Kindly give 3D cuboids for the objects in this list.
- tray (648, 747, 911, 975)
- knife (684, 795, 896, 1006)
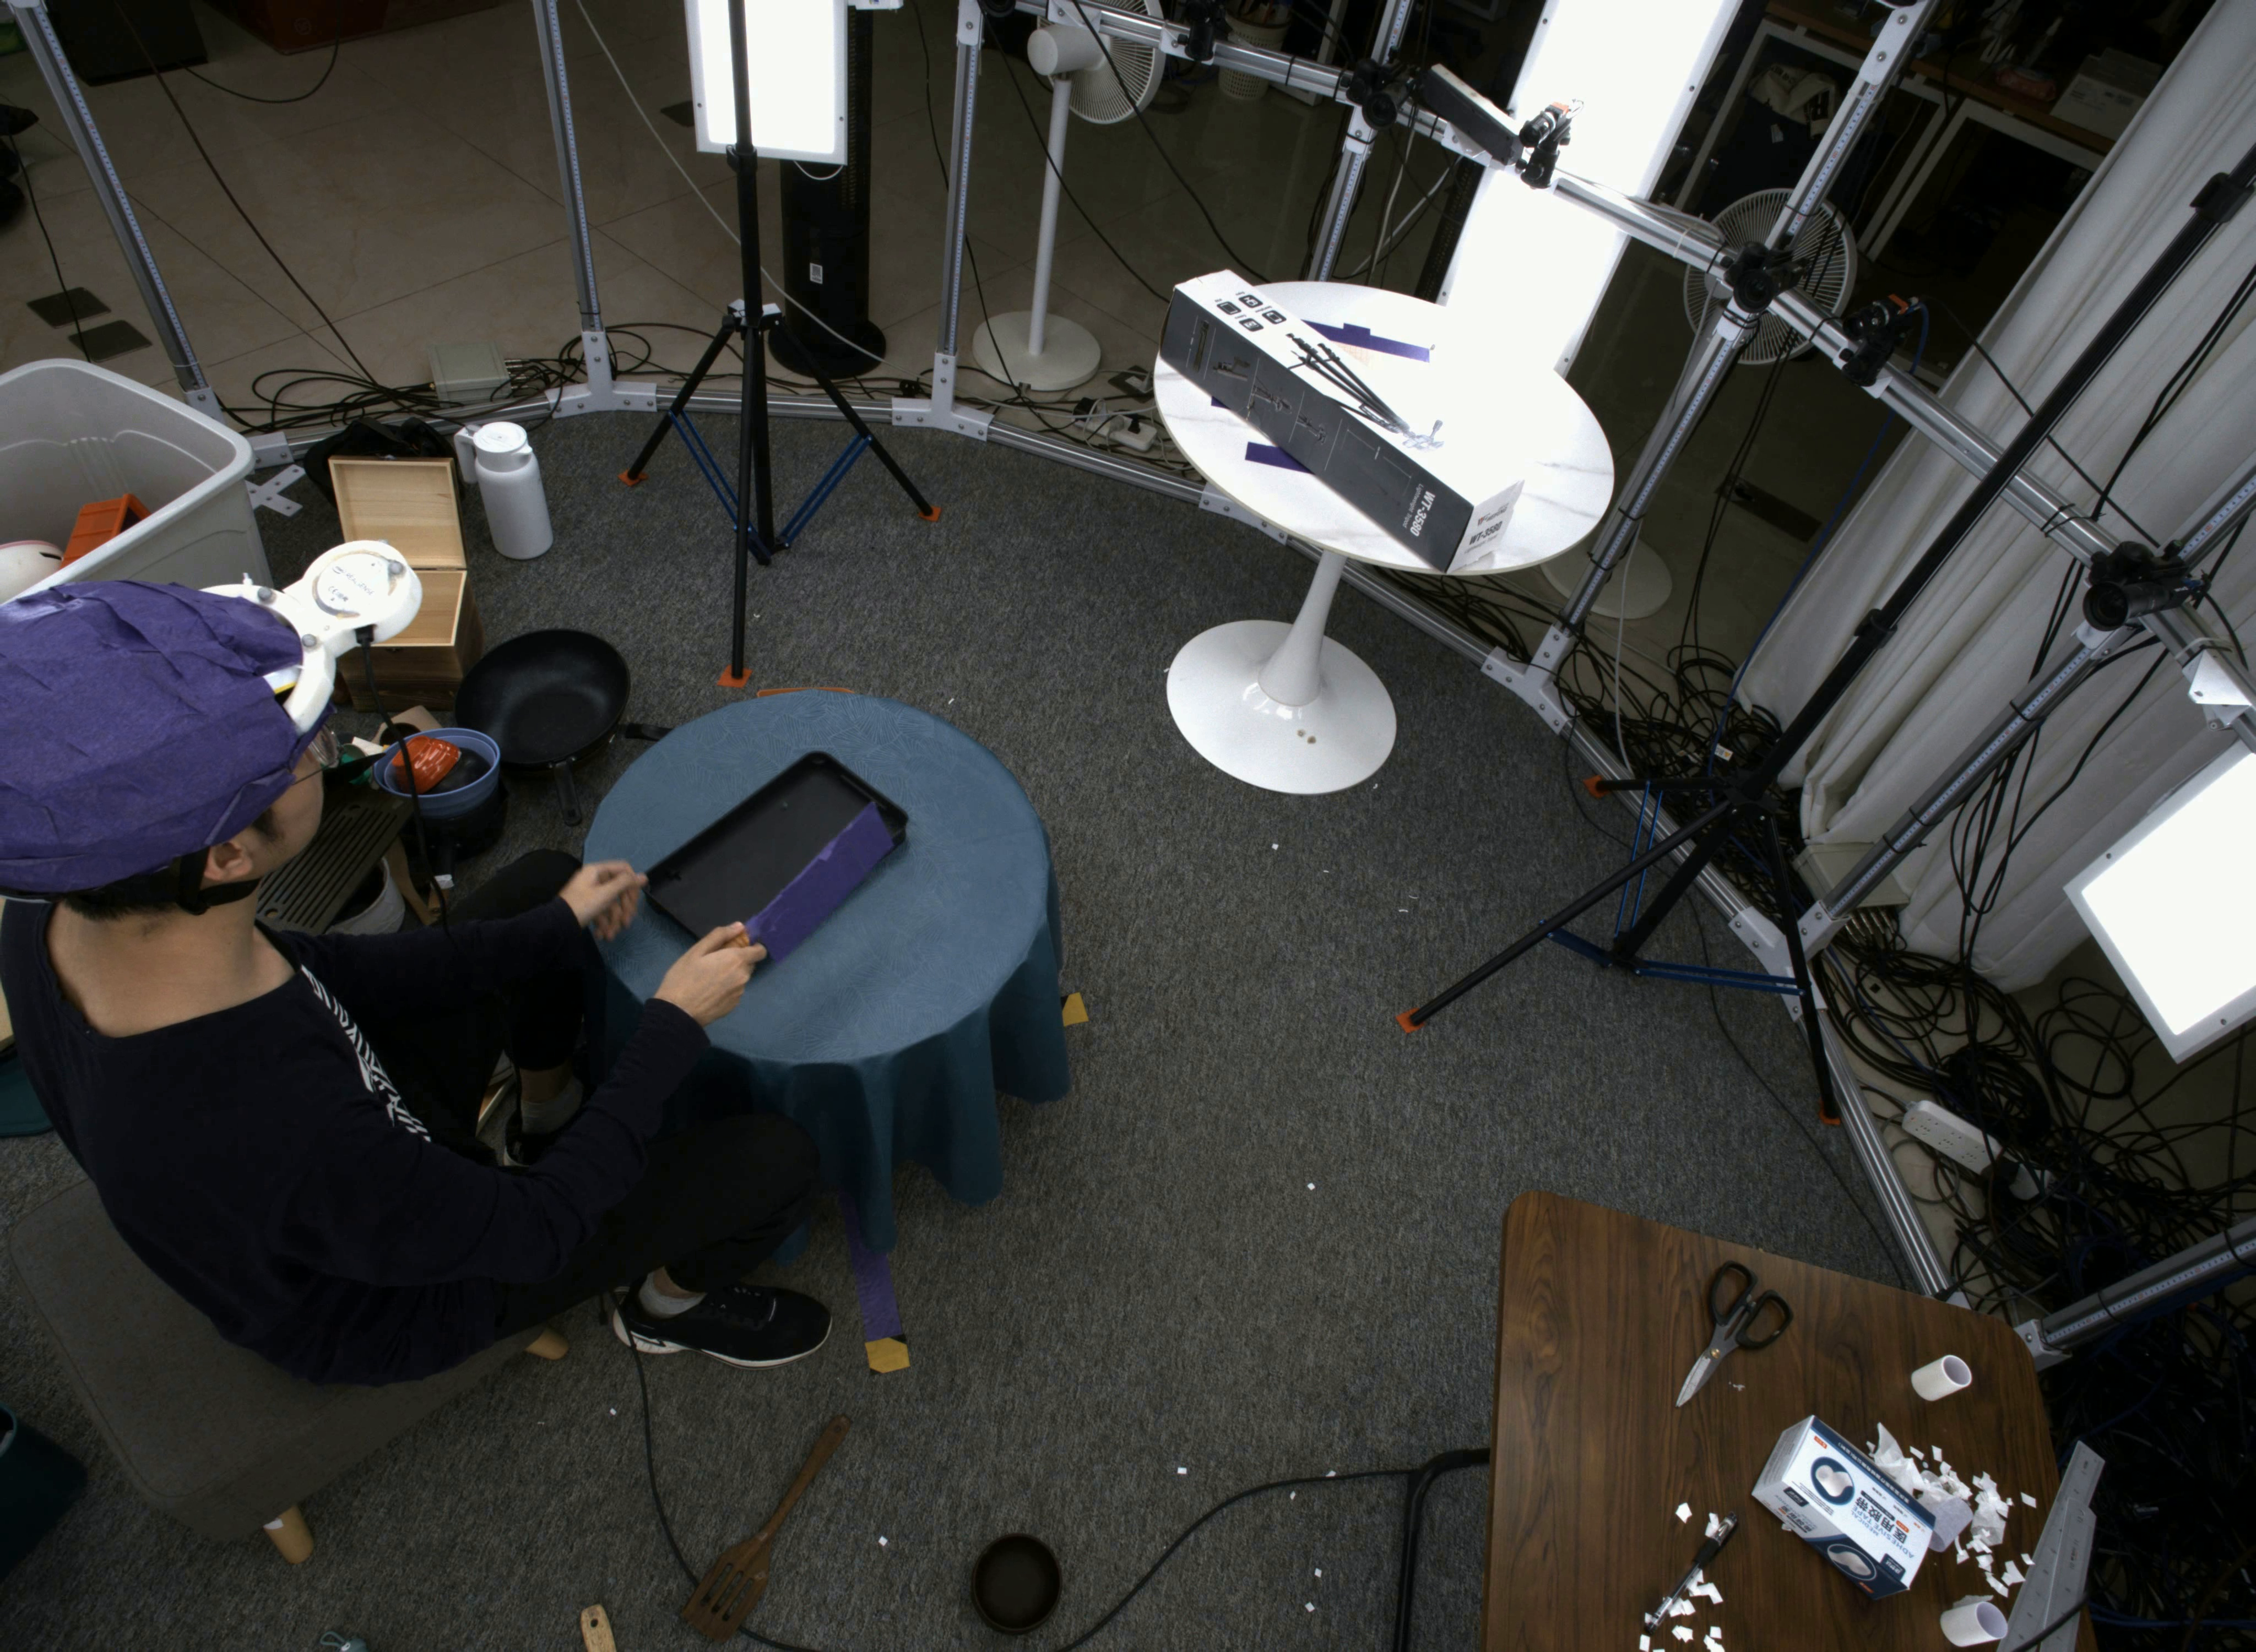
[{"bbox_3d":[-0.447,0.037,1.681,0.181,0.038,0.317,35,55,12],"label":"tray"},{"bbox_3d":[-0.382,0.100,1.512,0.031,0.107,0.315,28,61,28],"label":"knife"}]
